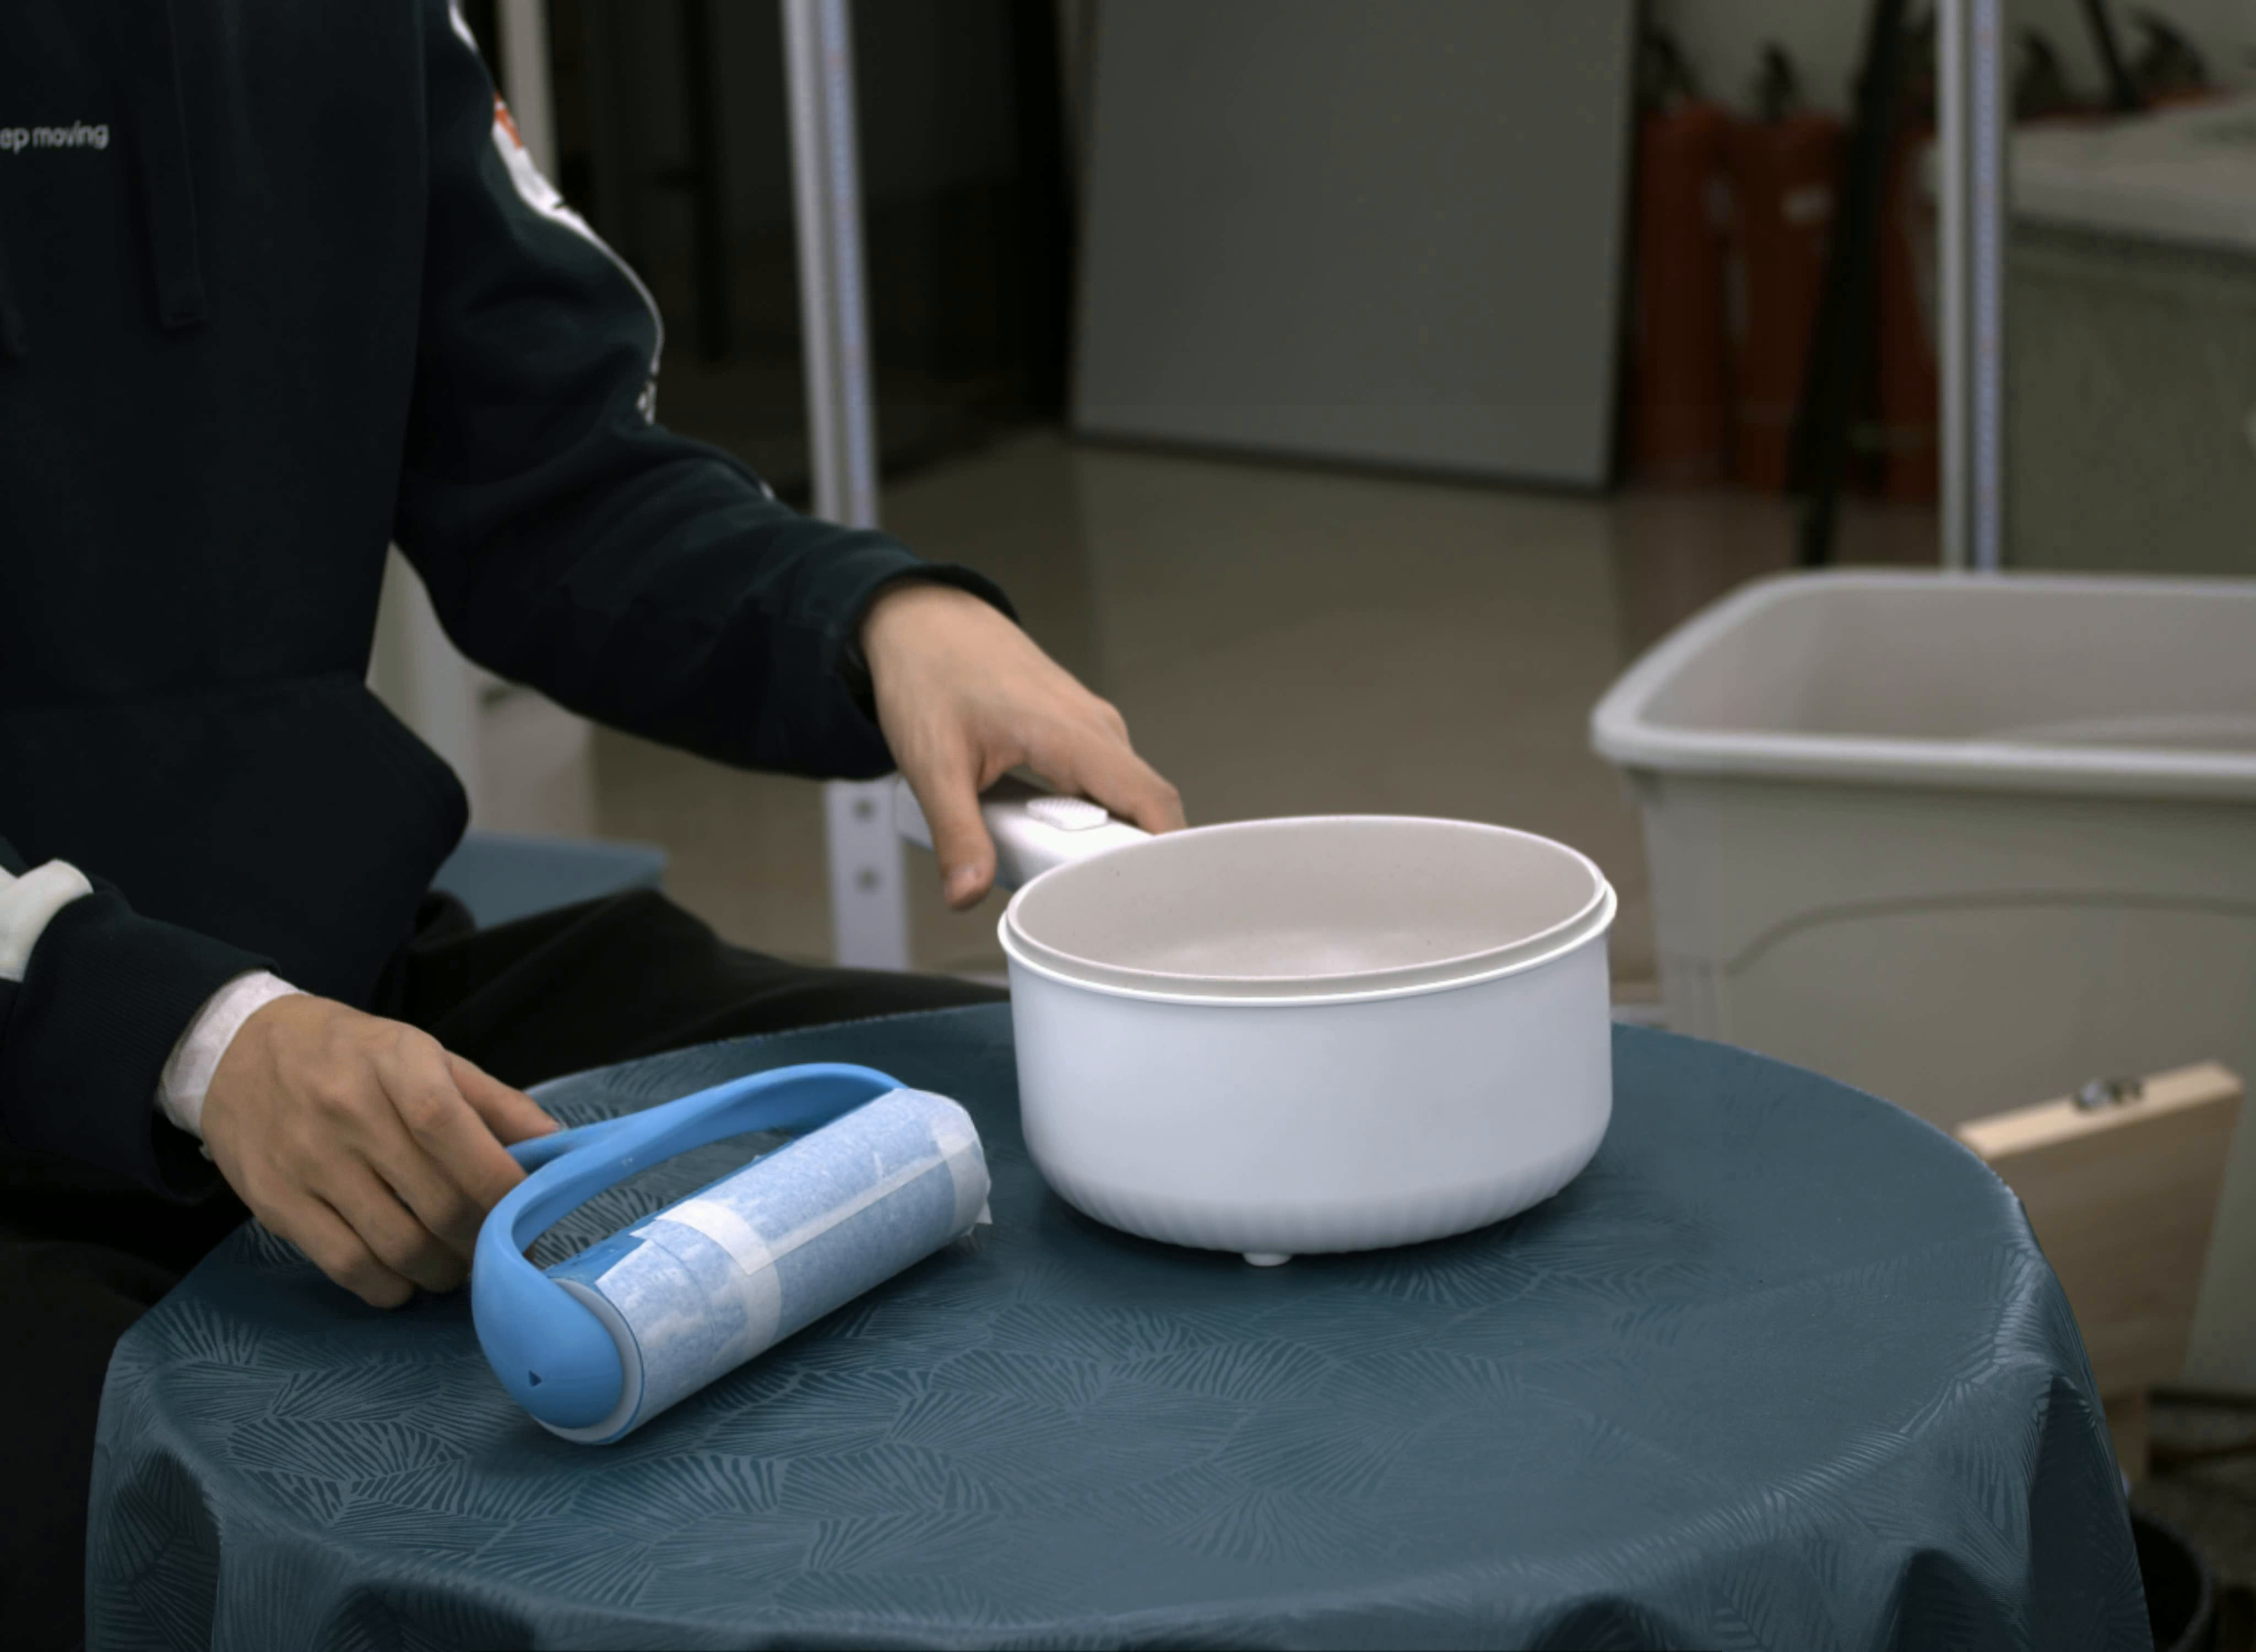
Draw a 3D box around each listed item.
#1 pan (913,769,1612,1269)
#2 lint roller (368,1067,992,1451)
[{"bbox_3d":[0.023,0.057,1.816,0.197,0.103,0.358,-12,15,-27],"label":"pan"},{"bbox_3d":[-0.164,0.128,1.675,0.181,0.068,0.226,4,17,28],"label":"lint roller"}]
